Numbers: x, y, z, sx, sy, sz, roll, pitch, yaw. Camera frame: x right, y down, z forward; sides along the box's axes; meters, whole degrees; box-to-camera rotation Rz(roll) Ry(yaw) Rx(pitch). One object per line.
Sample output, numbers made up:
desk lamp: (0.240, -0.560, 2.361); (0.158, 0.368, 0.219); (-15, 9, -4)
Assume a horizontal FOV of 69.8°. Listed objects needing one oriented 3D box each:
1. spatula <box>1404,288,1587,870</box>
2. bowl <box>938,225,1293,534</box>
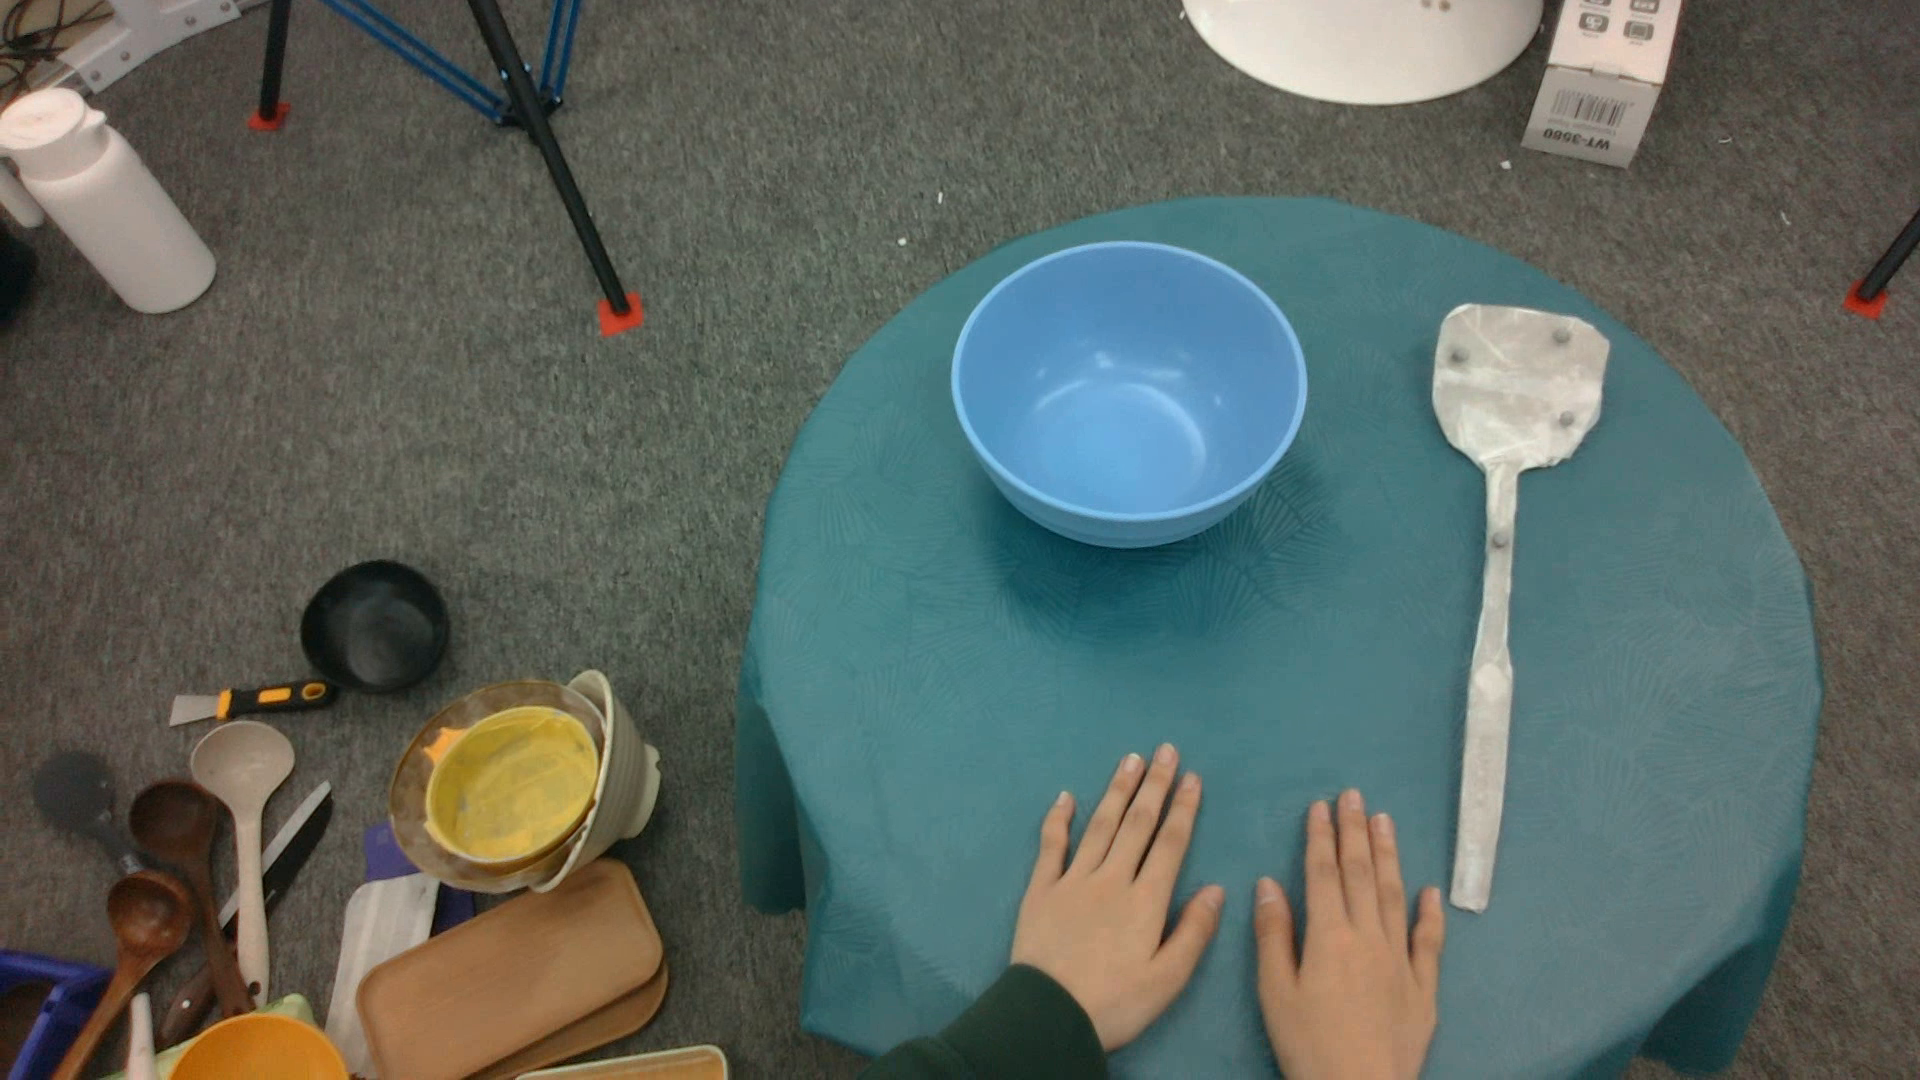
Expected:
spatula: (0.288, 0.010, 0.773); (0.098, 0.044, 0.366); (14, 60, 8)
bowl: (0.086, -0.078, 0.801); (0.196, 0.095, 0.197); (0, 58, 0)
